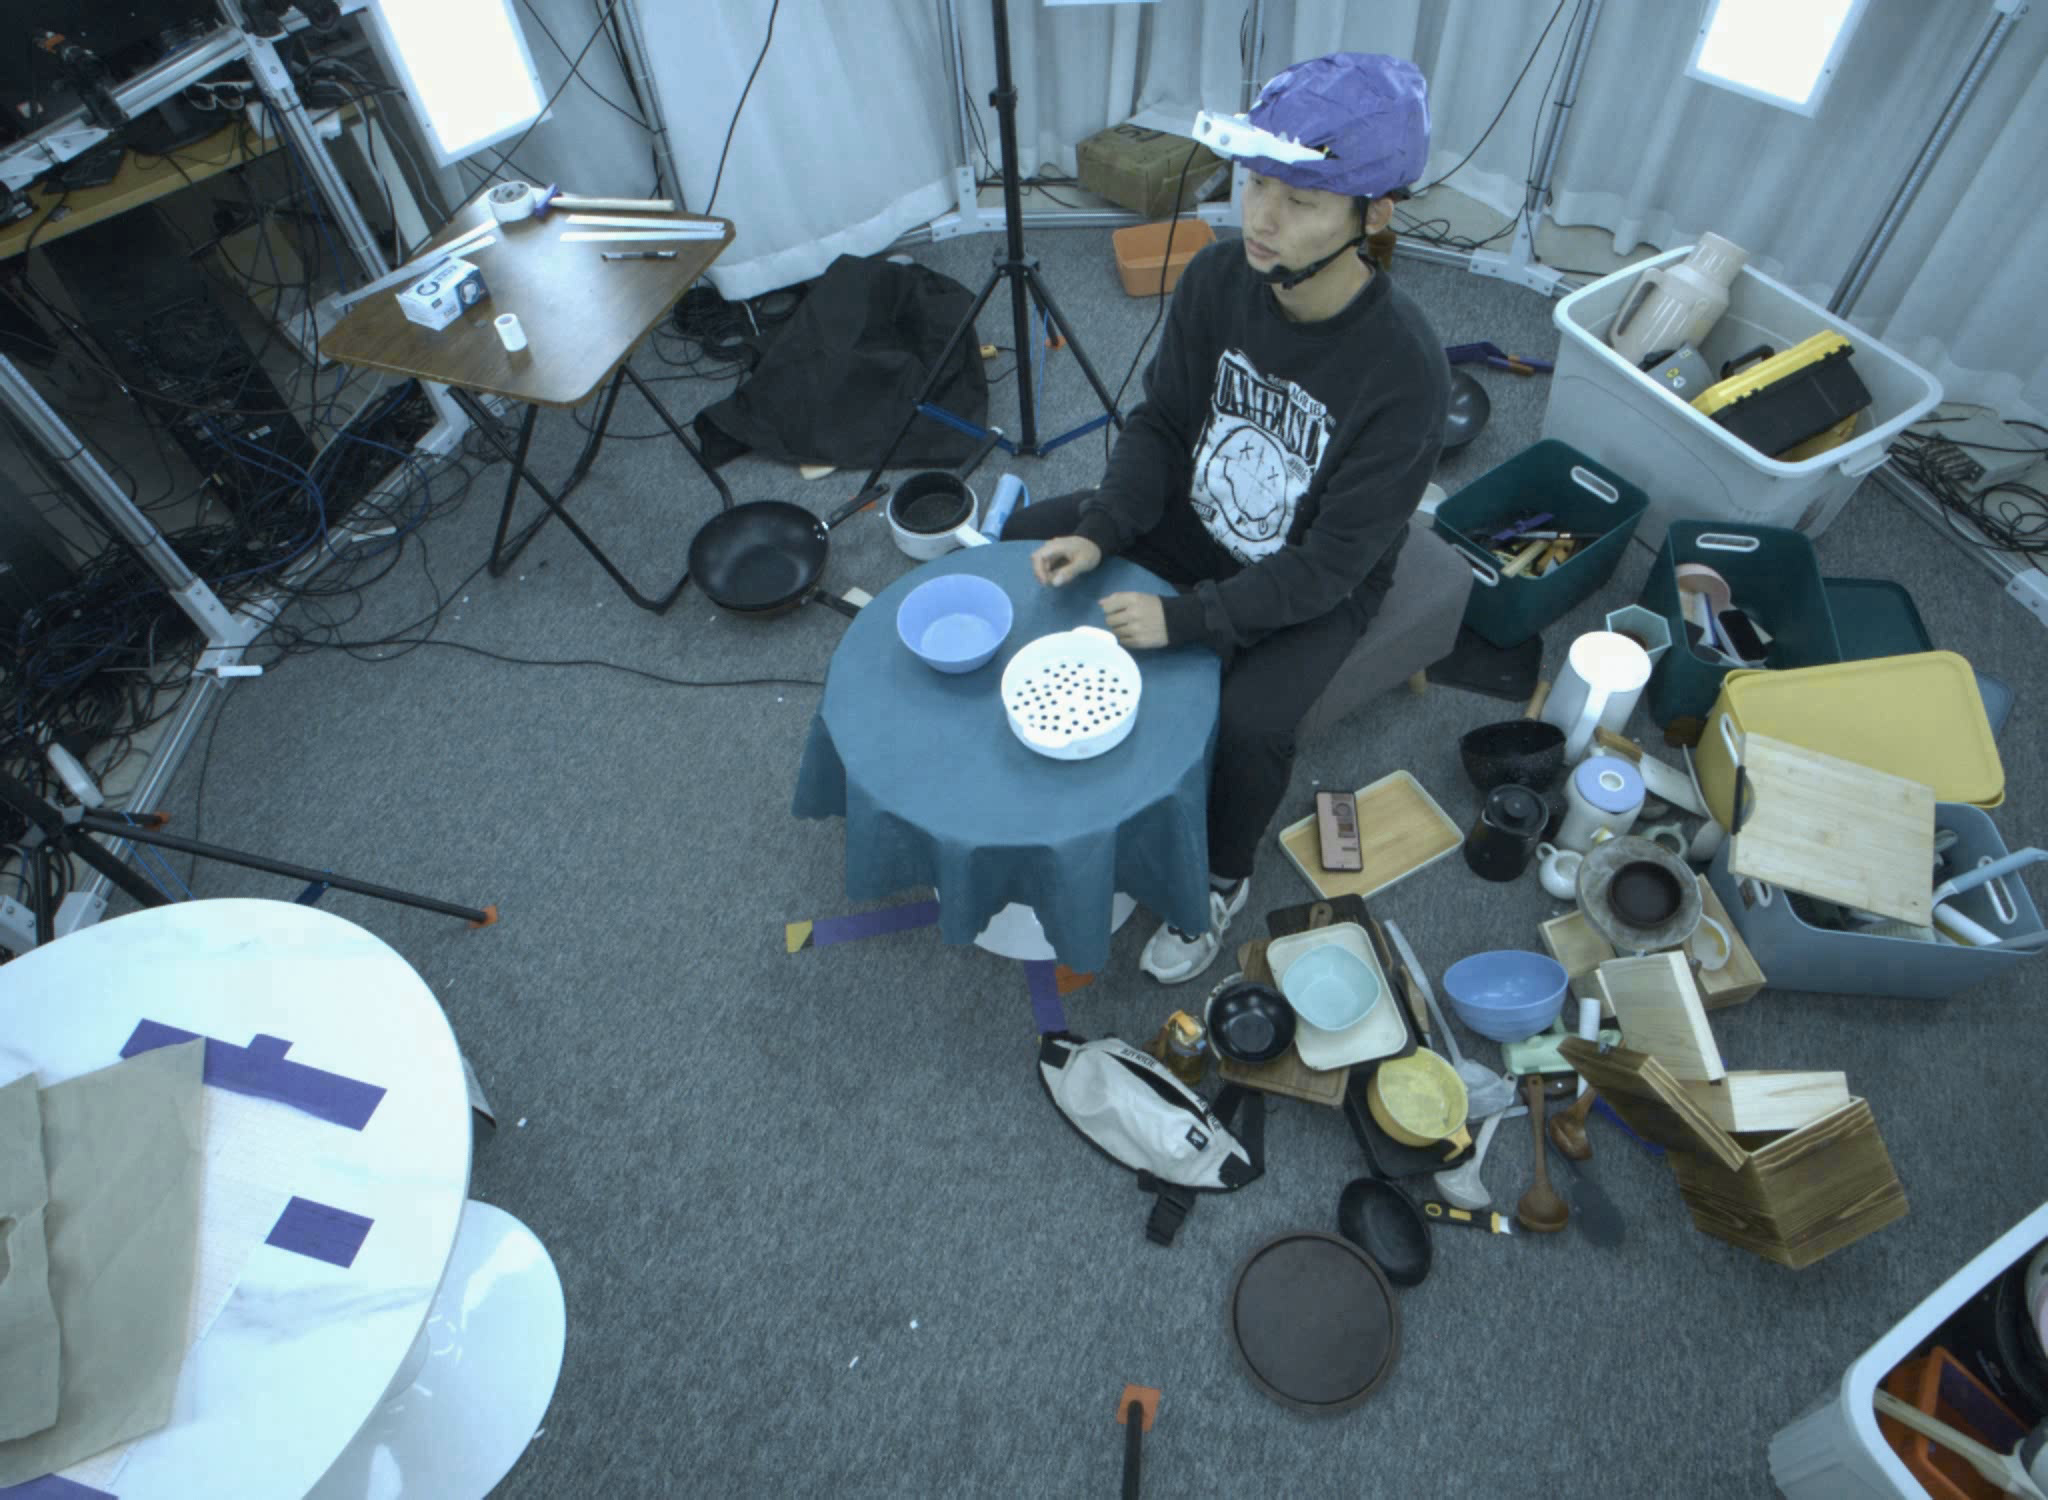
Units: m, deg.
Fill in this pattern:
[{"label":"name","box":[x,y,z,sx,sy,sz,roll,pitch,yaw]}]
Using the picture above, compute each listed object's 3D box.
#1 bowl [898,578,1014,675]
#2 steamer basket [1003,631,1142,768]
[{"label":"bowl","box":[-0.102,-0.180,1.884,0.176,0.071,0.174,0,55,1]},{"label":"steamer basket","box":[0.072,-0.069,1.802,0.200,0.070,0.230,16,59,13]}]
